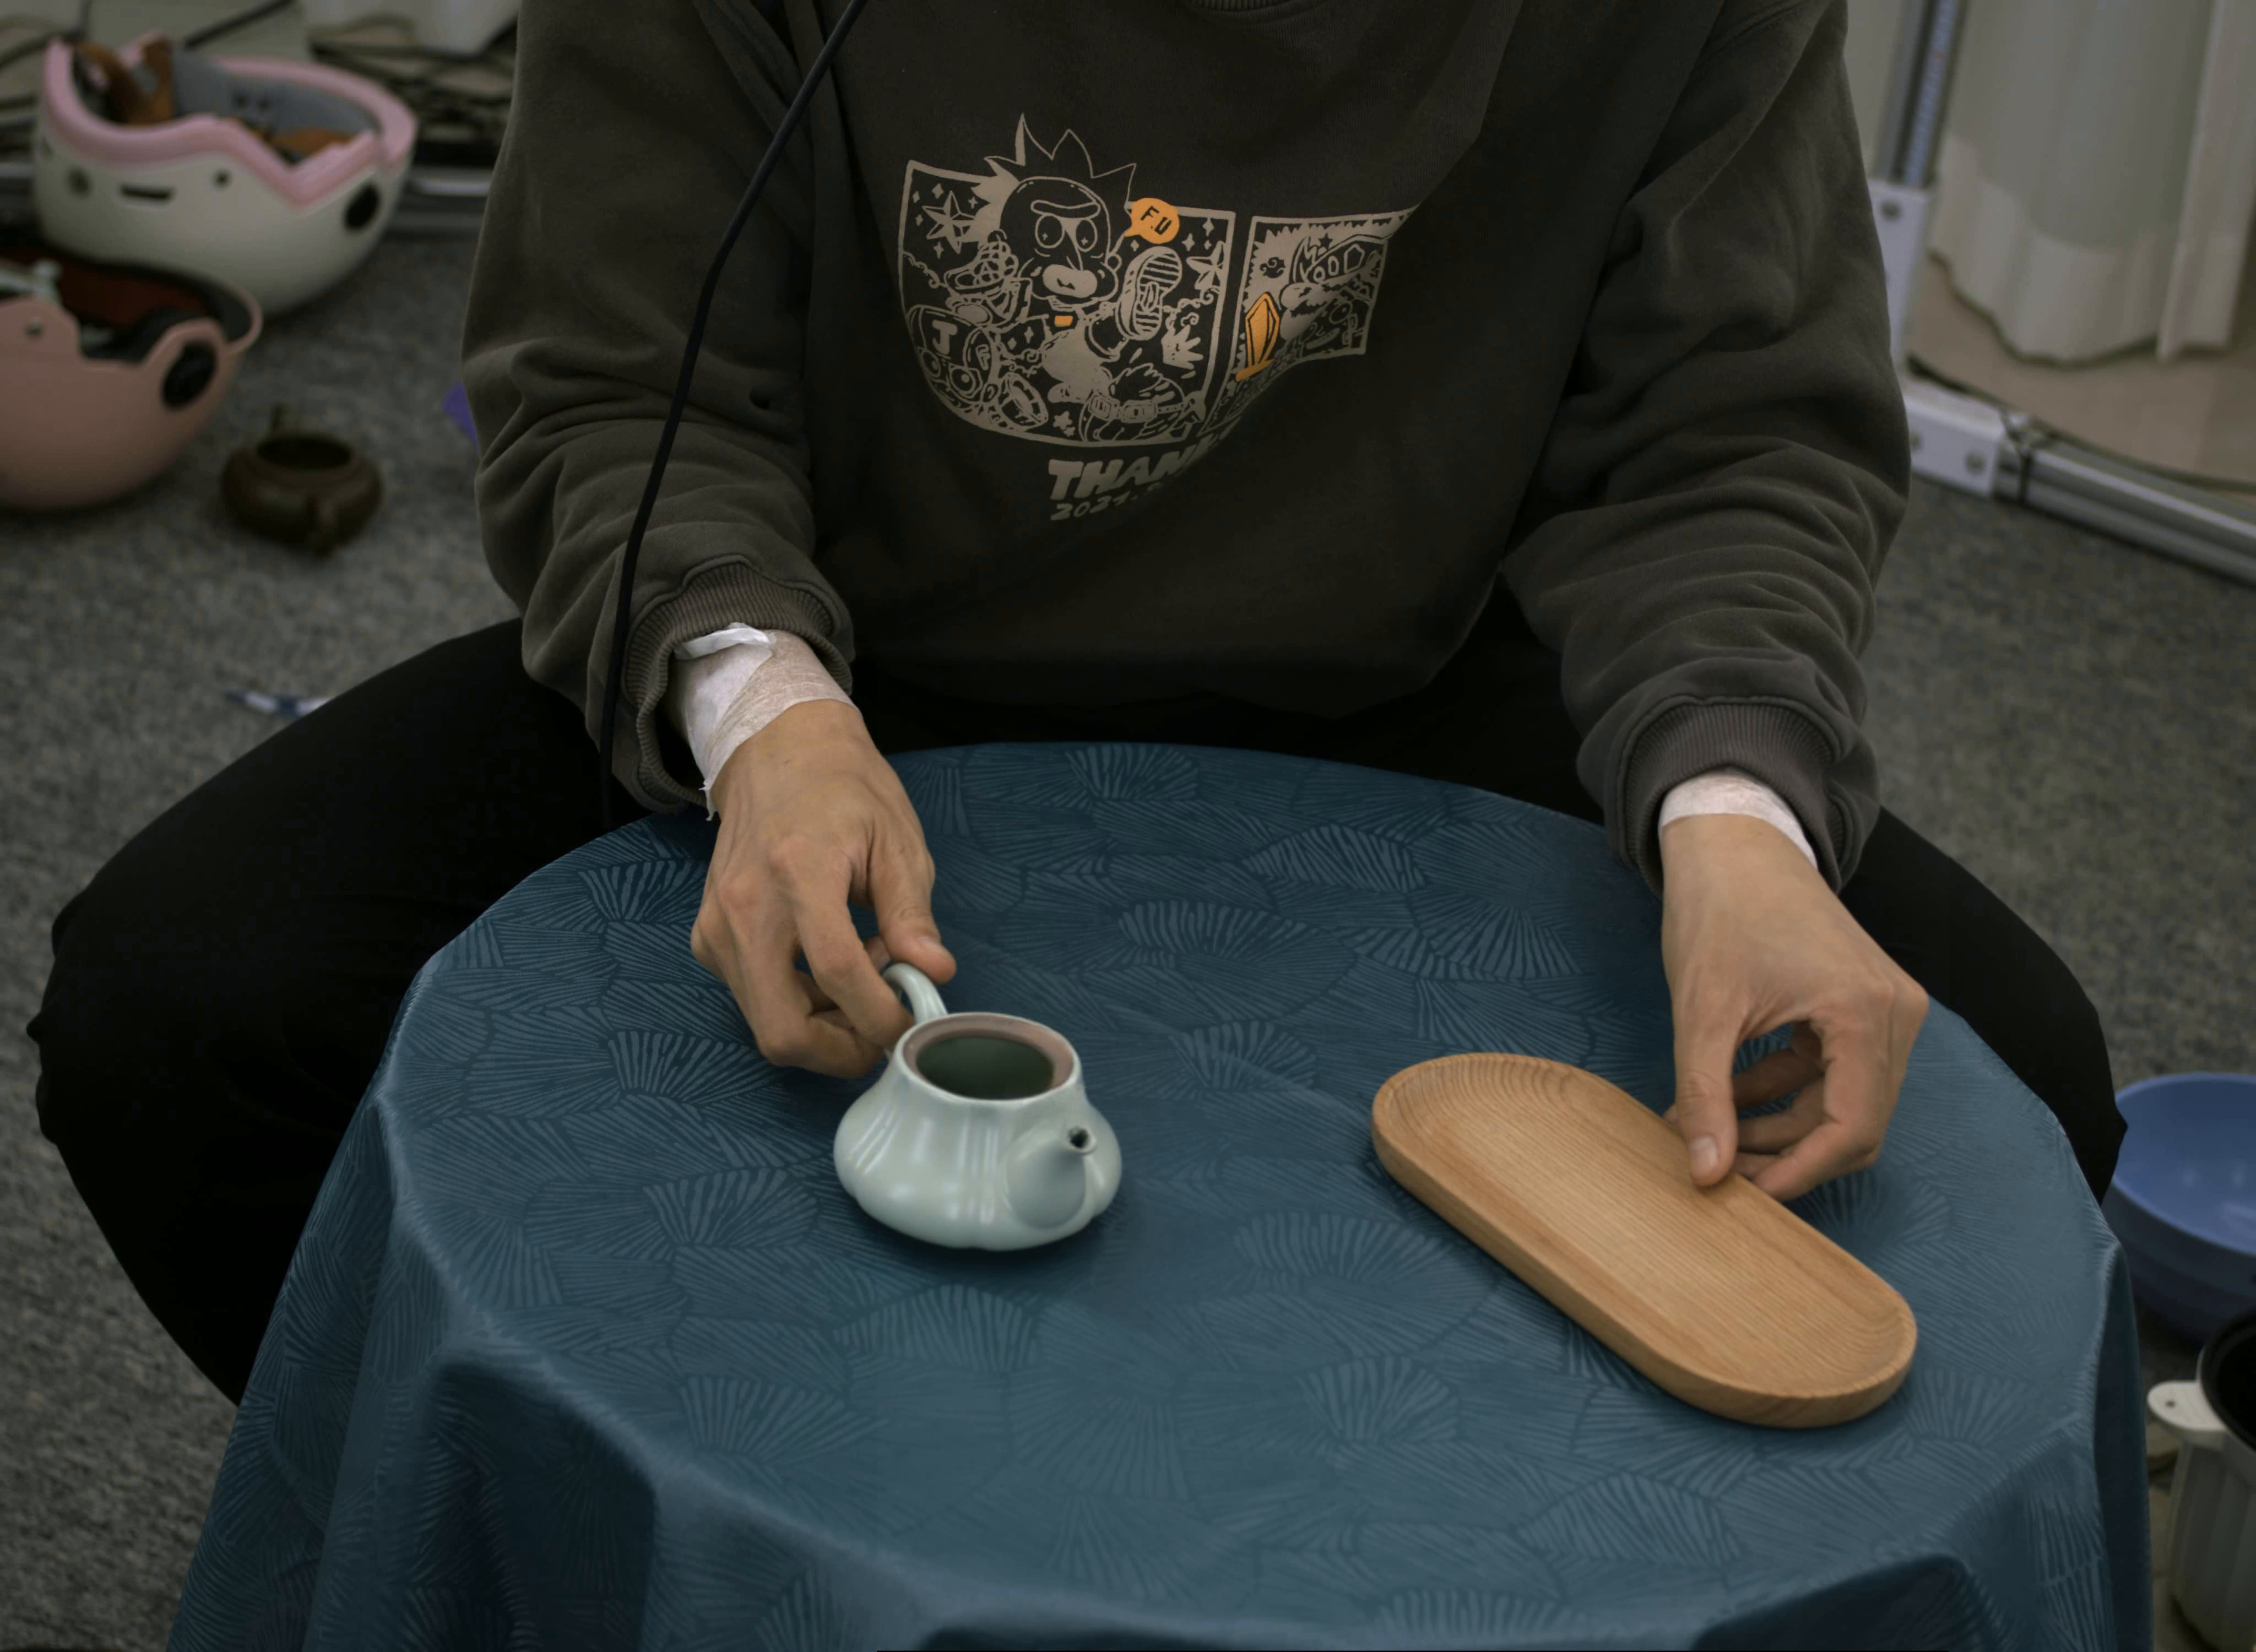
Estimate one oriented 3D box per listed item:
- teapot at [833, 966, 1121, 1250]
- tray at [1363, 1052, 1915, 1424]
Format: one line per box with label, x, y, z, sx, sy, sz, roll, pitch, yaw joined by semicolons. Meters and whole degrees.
teapot;-0.052;0.098;1.777;0.095;0.061;0.138;-14;33;-31
tray;0.170;0.137;1.796;0.101;0.020;0.233;-13;31;-34
